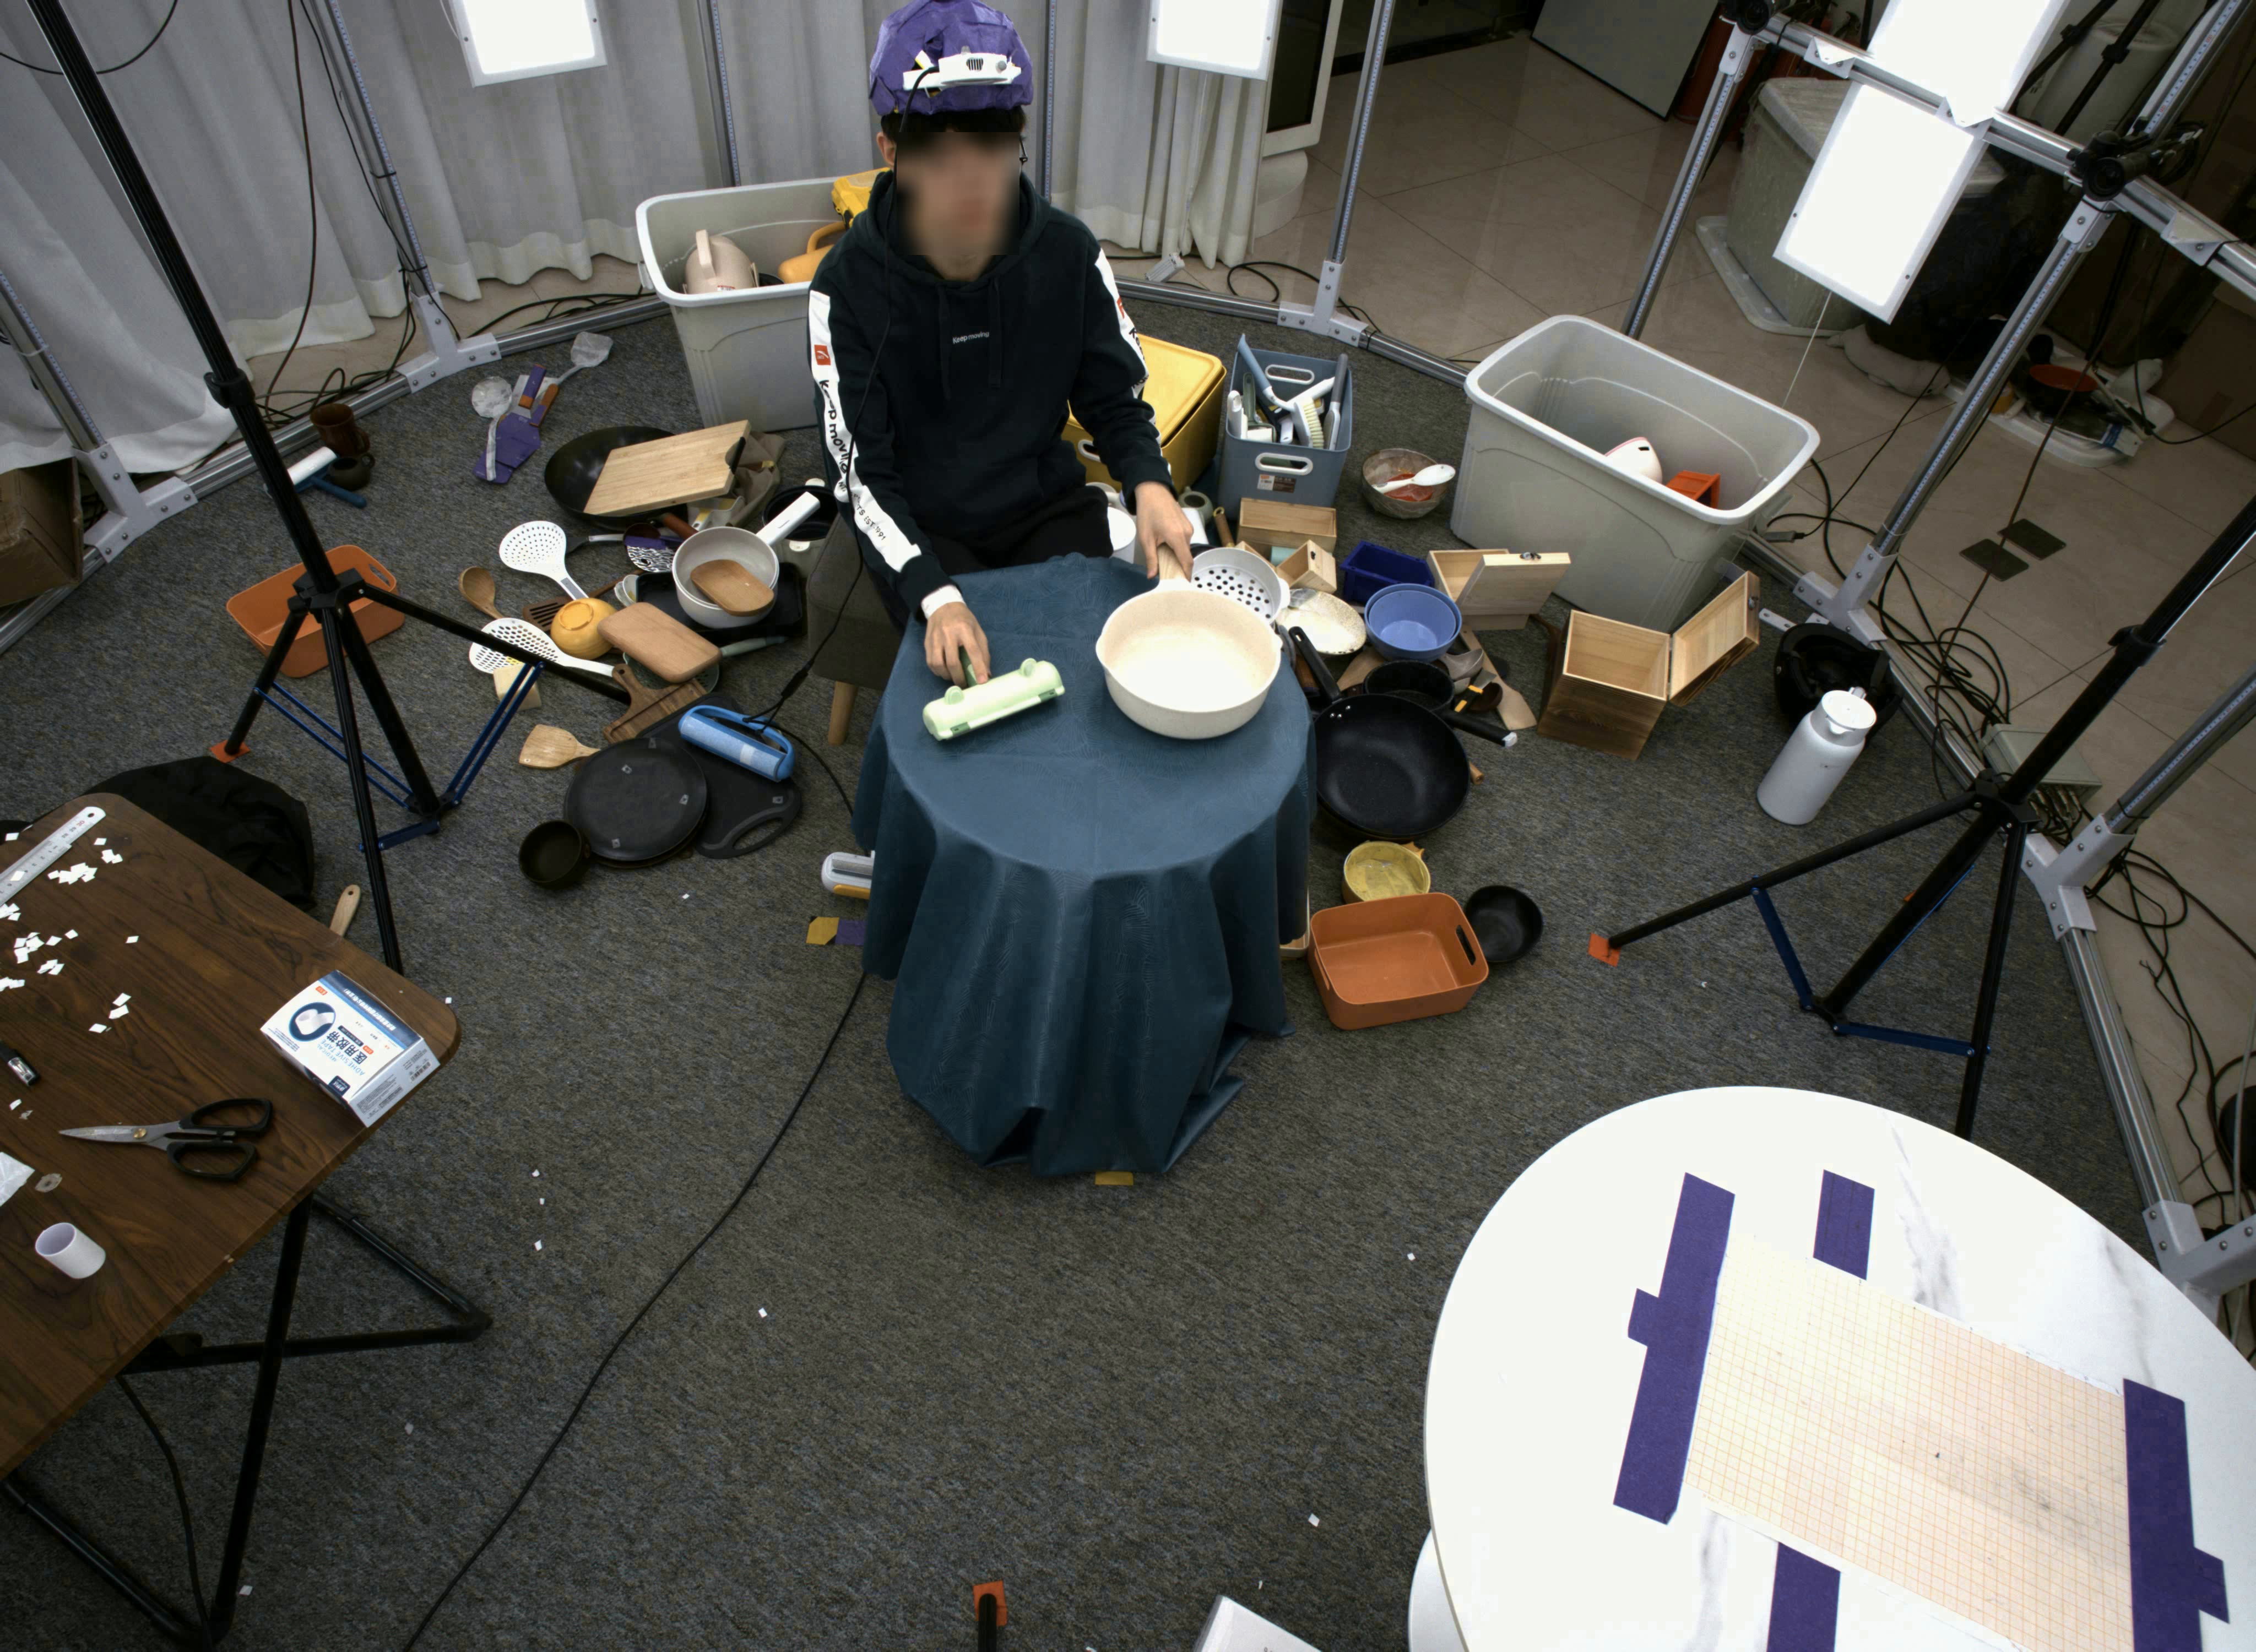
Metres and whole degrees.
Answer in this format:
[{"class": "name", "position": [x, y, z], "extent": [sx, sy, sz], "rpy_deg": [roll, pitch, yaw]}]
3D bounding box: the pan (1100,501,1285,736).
[{"class": "pan", "position": [0.075, -0.301, 1.871], "extent": [0.263, 0.099, 0.446], "rpy_deg": [-6, 49, -7]}]

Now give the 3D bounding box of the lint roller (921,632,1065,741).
[{"class": "lint roller", "position": [-0.213, -0.220, 1.790], "extent": [0.199, 0.080, 0.186], "rpy_deg": [-23, 64, -22]}]
